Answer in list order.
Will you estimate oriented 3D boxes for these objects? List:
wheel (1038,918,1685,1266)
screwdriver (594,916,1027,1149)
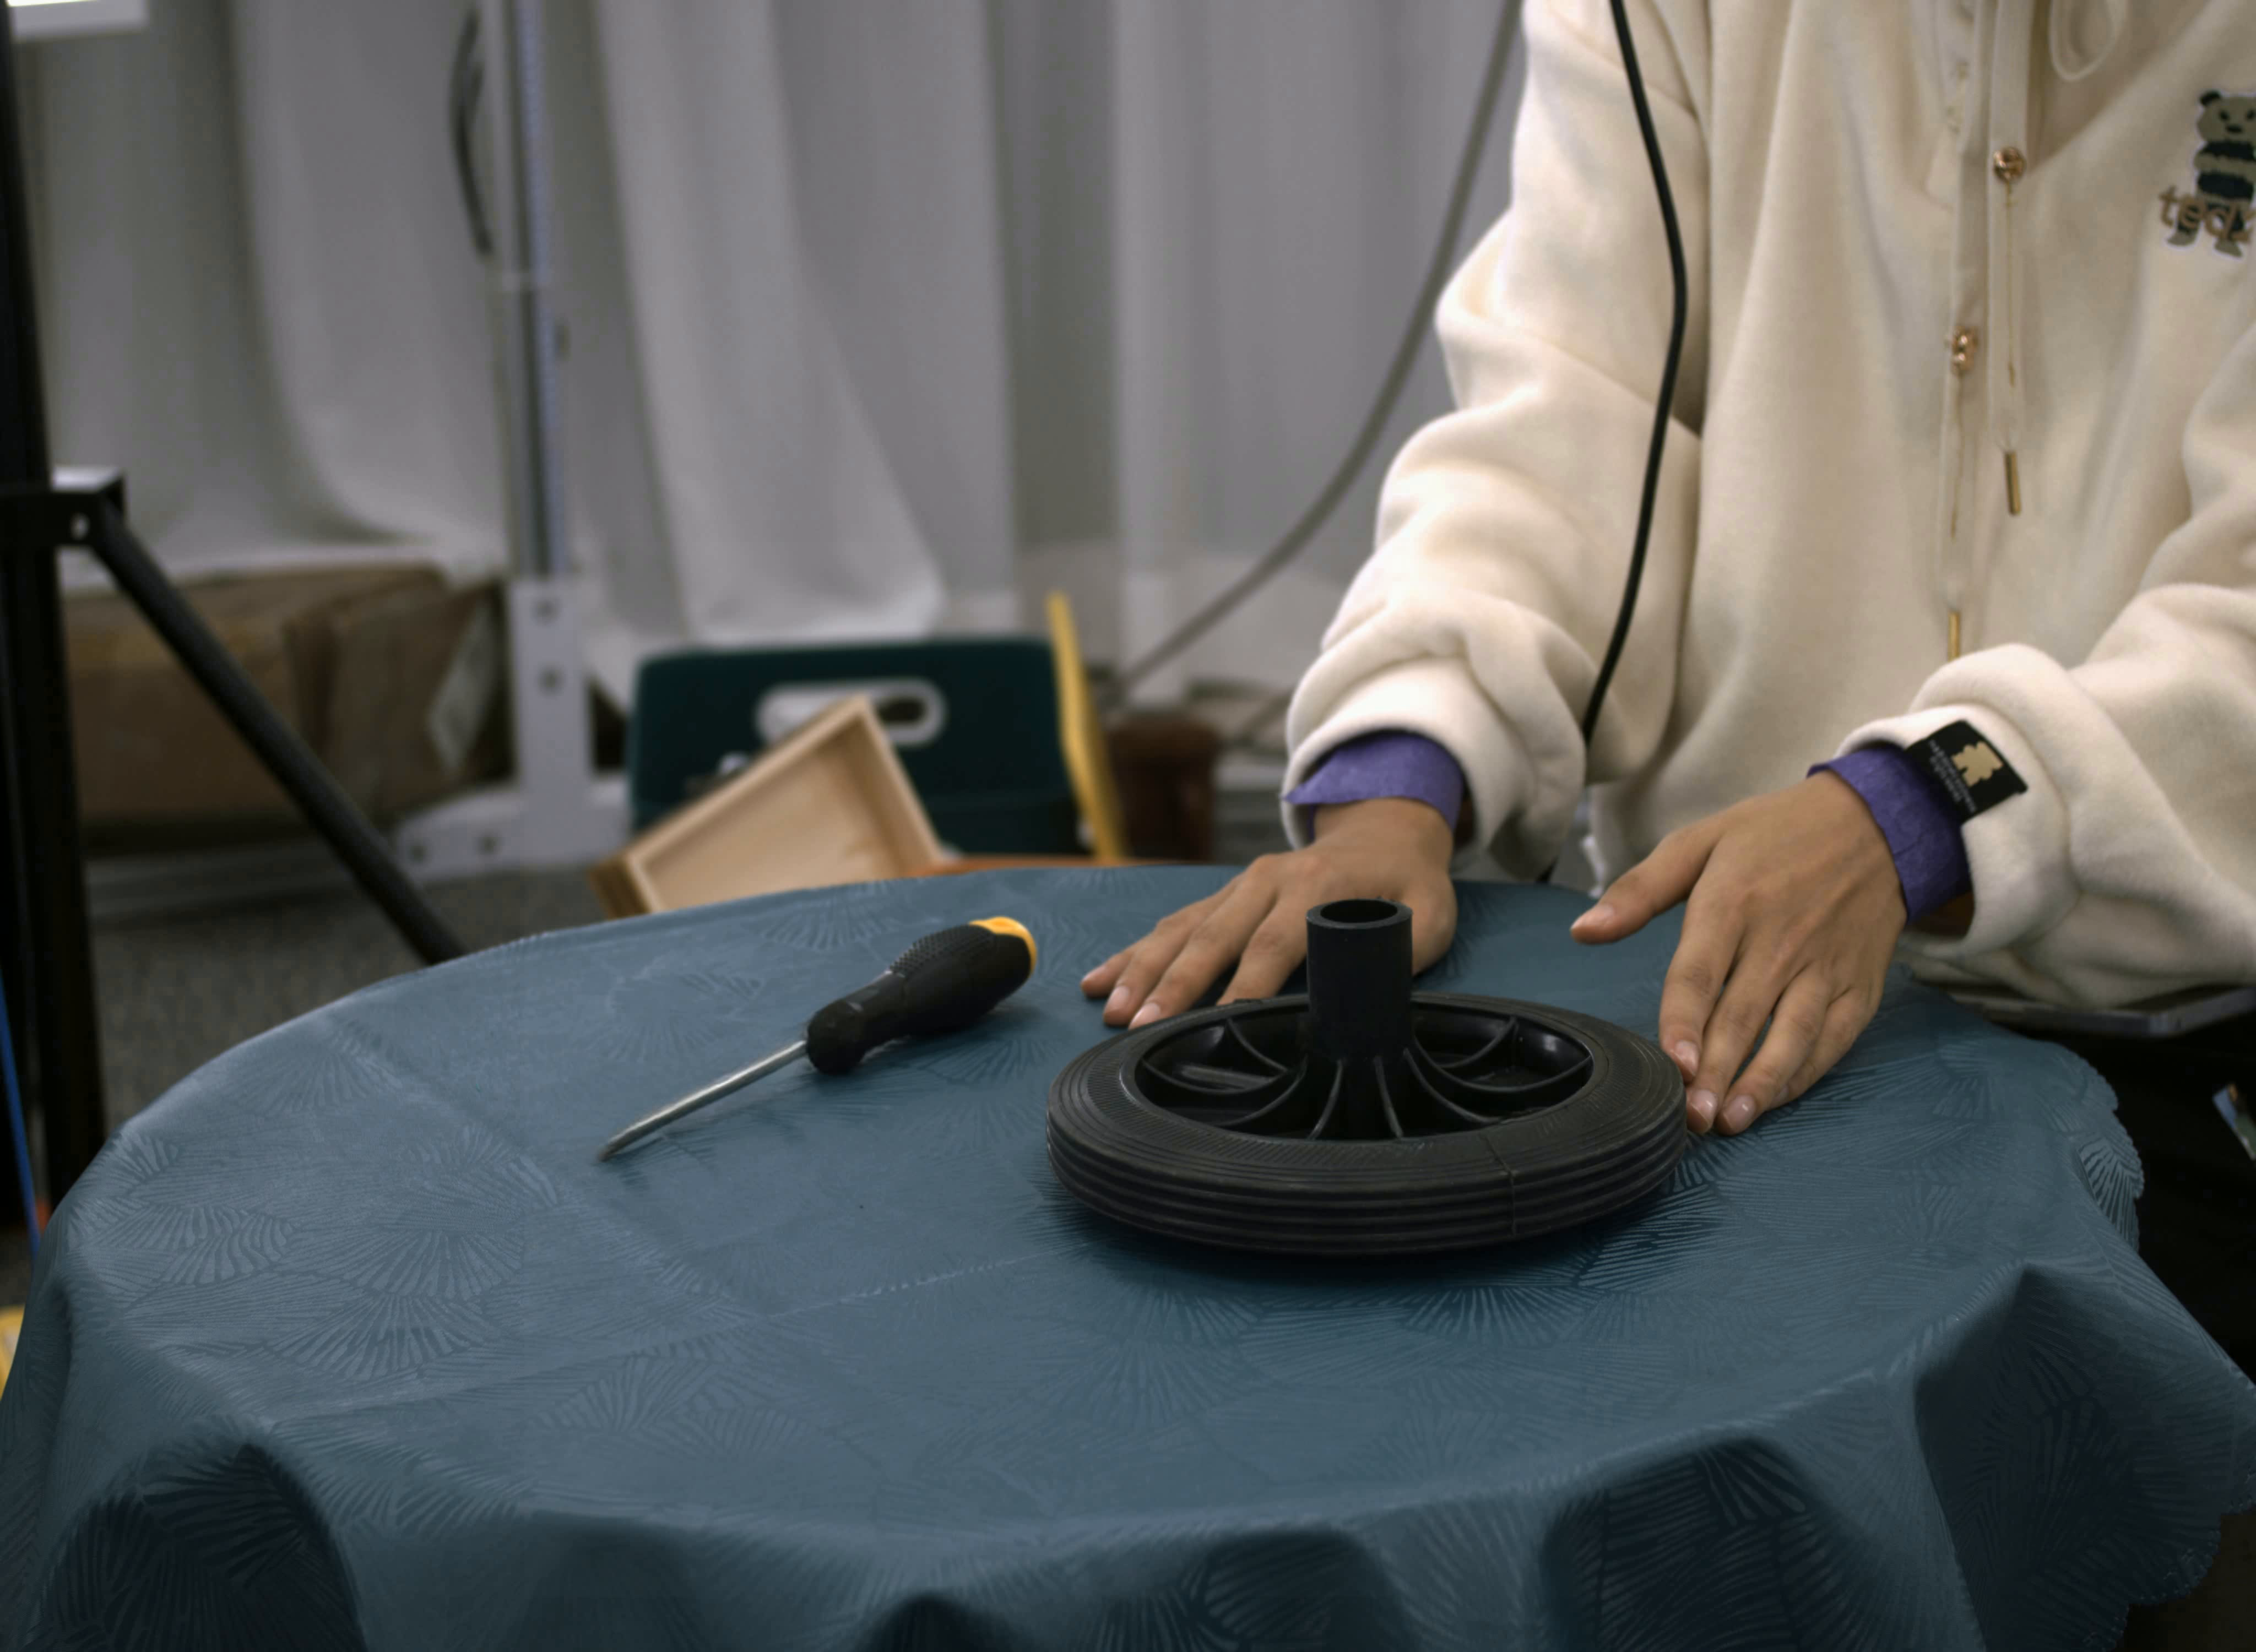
[{"bbox_3d":[0.066,0.069,1.549,0.191,0.079,0.186,-2,15,14],"label":"wheel"},{"bbox_3d":[-0.101,0.066,1.677,0.032,0.031,0.193,12,24,41],"label":"screwdriver"}]
